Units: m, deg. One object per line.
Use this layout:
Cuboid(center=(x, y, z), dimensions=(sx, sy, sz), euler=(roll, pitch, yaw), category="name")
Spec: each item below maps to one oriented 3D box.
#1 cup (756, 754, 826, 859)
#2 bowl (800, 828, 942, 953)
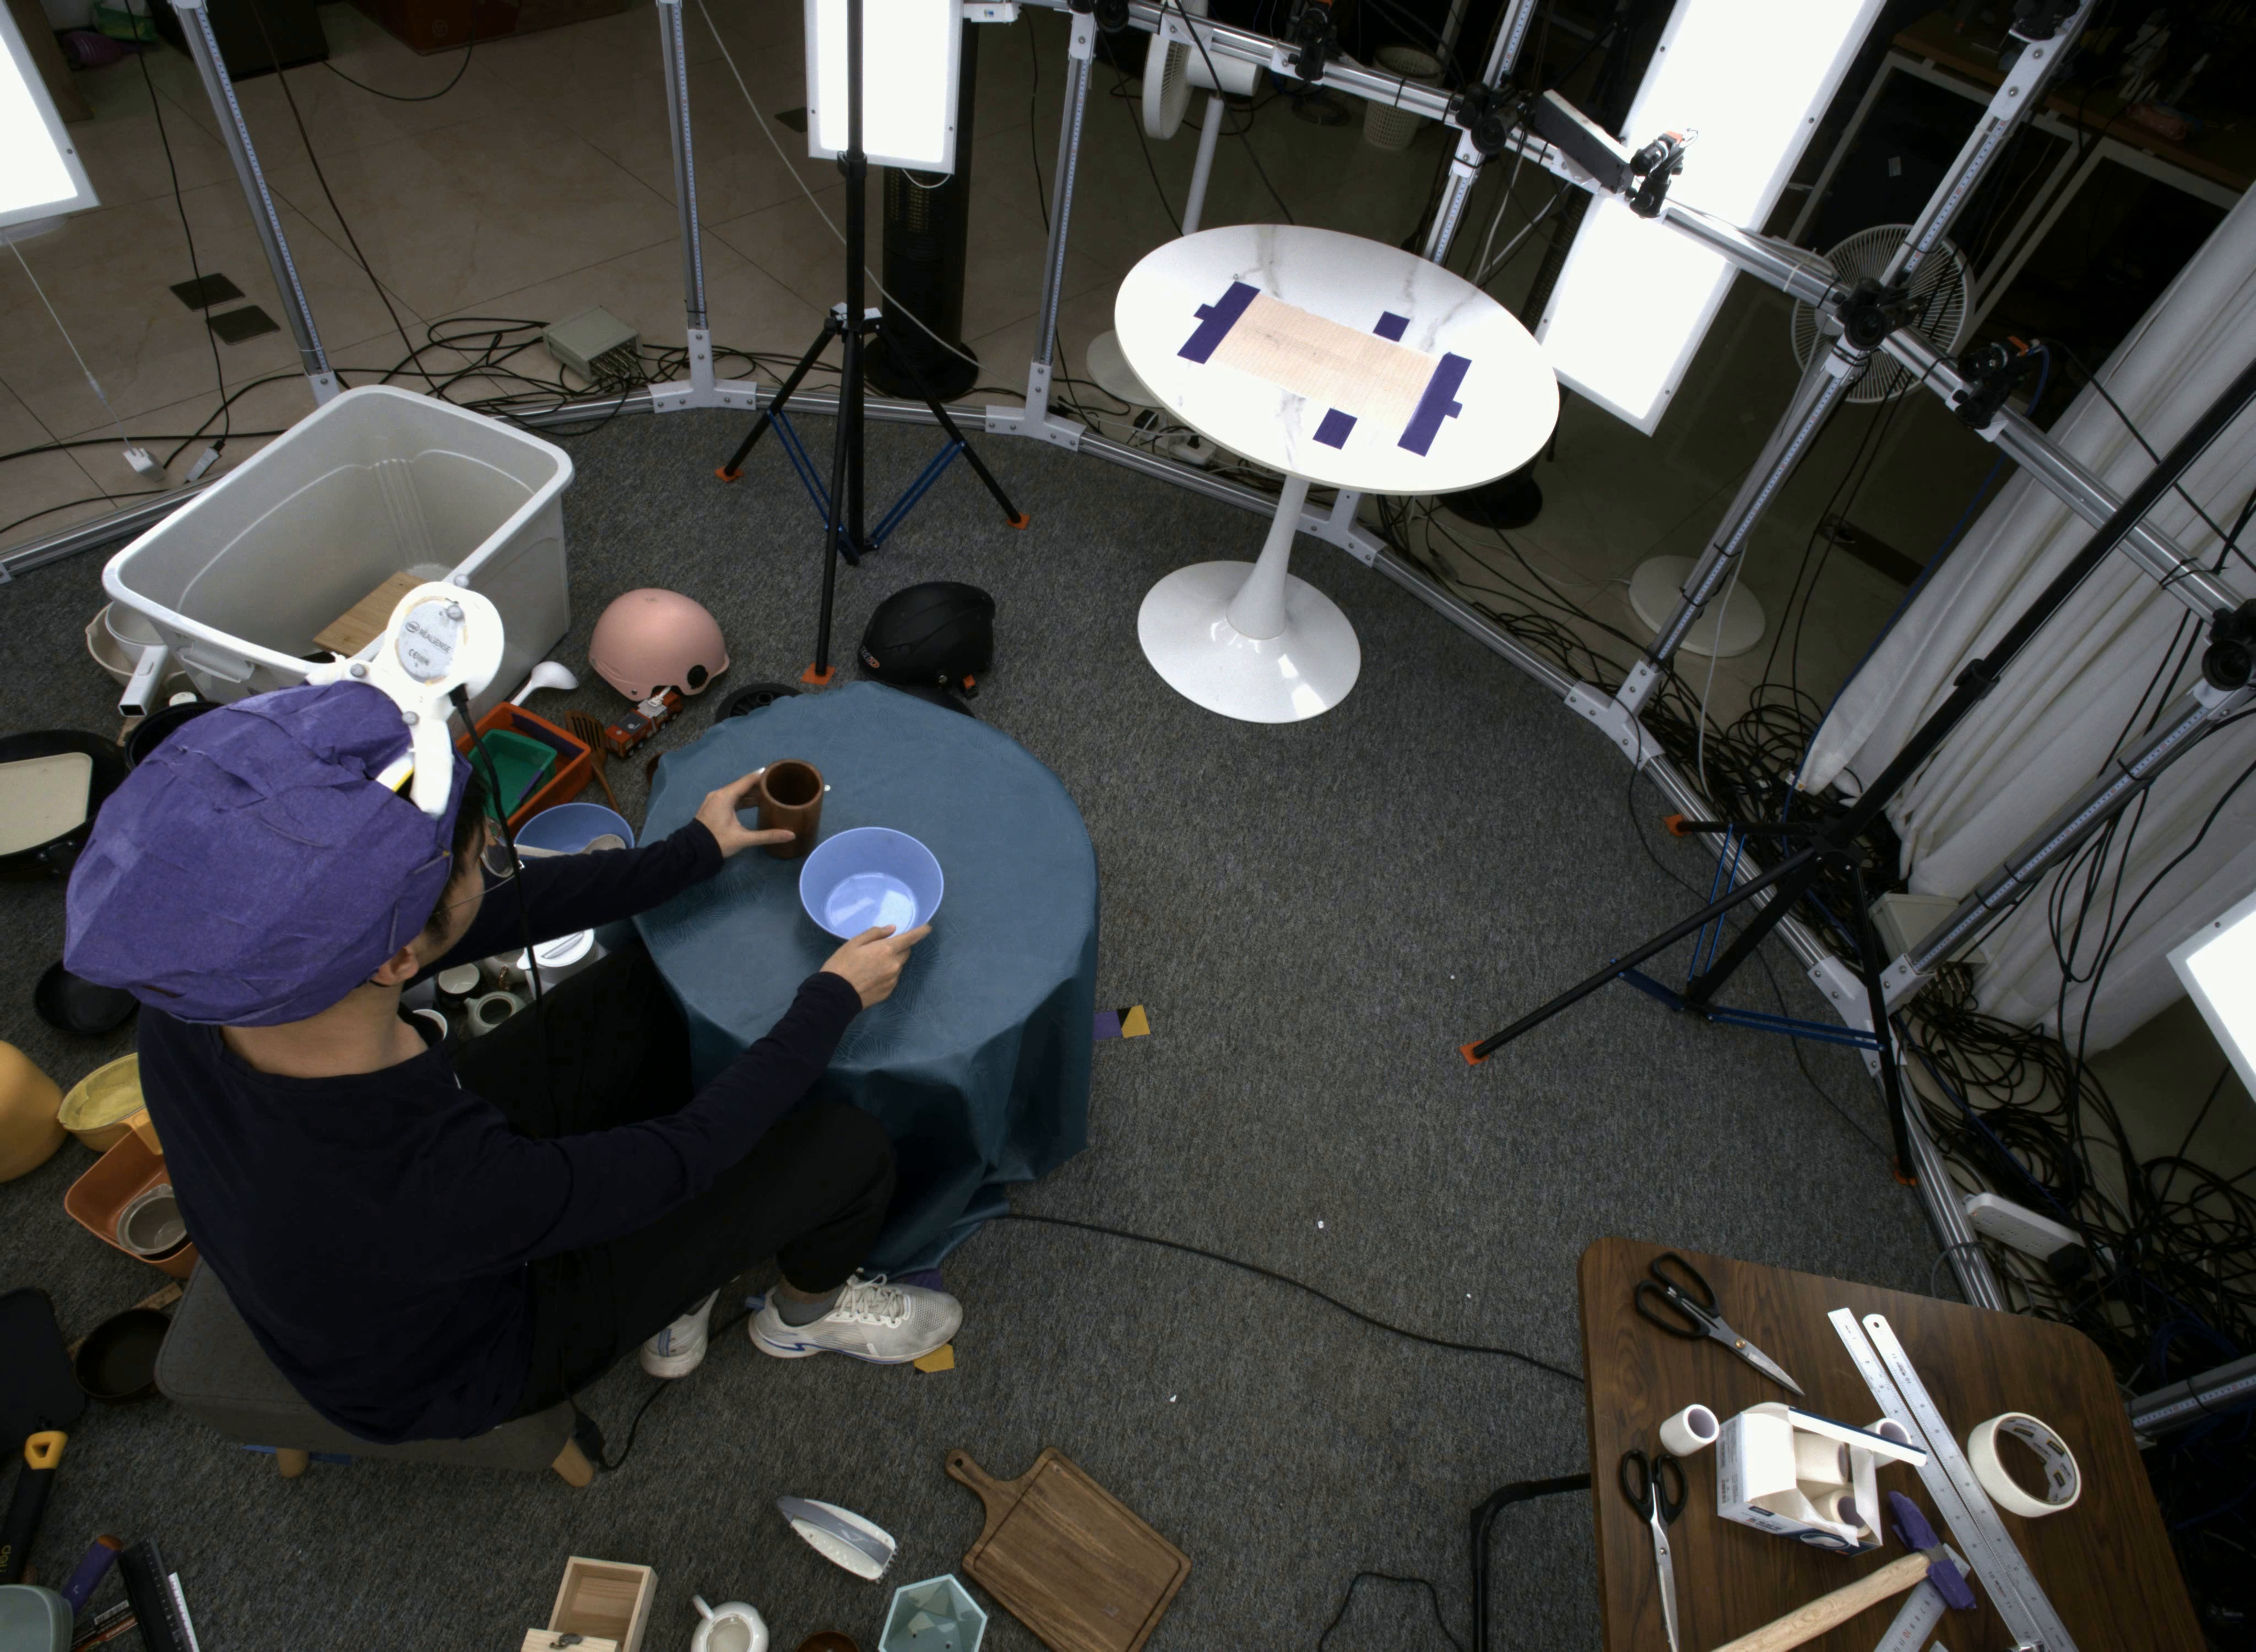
Cuboid(center=(-0.429, -0.024, 1.655), dimensions=(0.088, 0.120, 0.086), euler=(8, 55, -10), category="cup")
Cuboid(center=(-0.322, 0.091, 1.638), dimensions=(0.175, 0.072, 0.173), euler=(7, 53, -7), category="bowl")
